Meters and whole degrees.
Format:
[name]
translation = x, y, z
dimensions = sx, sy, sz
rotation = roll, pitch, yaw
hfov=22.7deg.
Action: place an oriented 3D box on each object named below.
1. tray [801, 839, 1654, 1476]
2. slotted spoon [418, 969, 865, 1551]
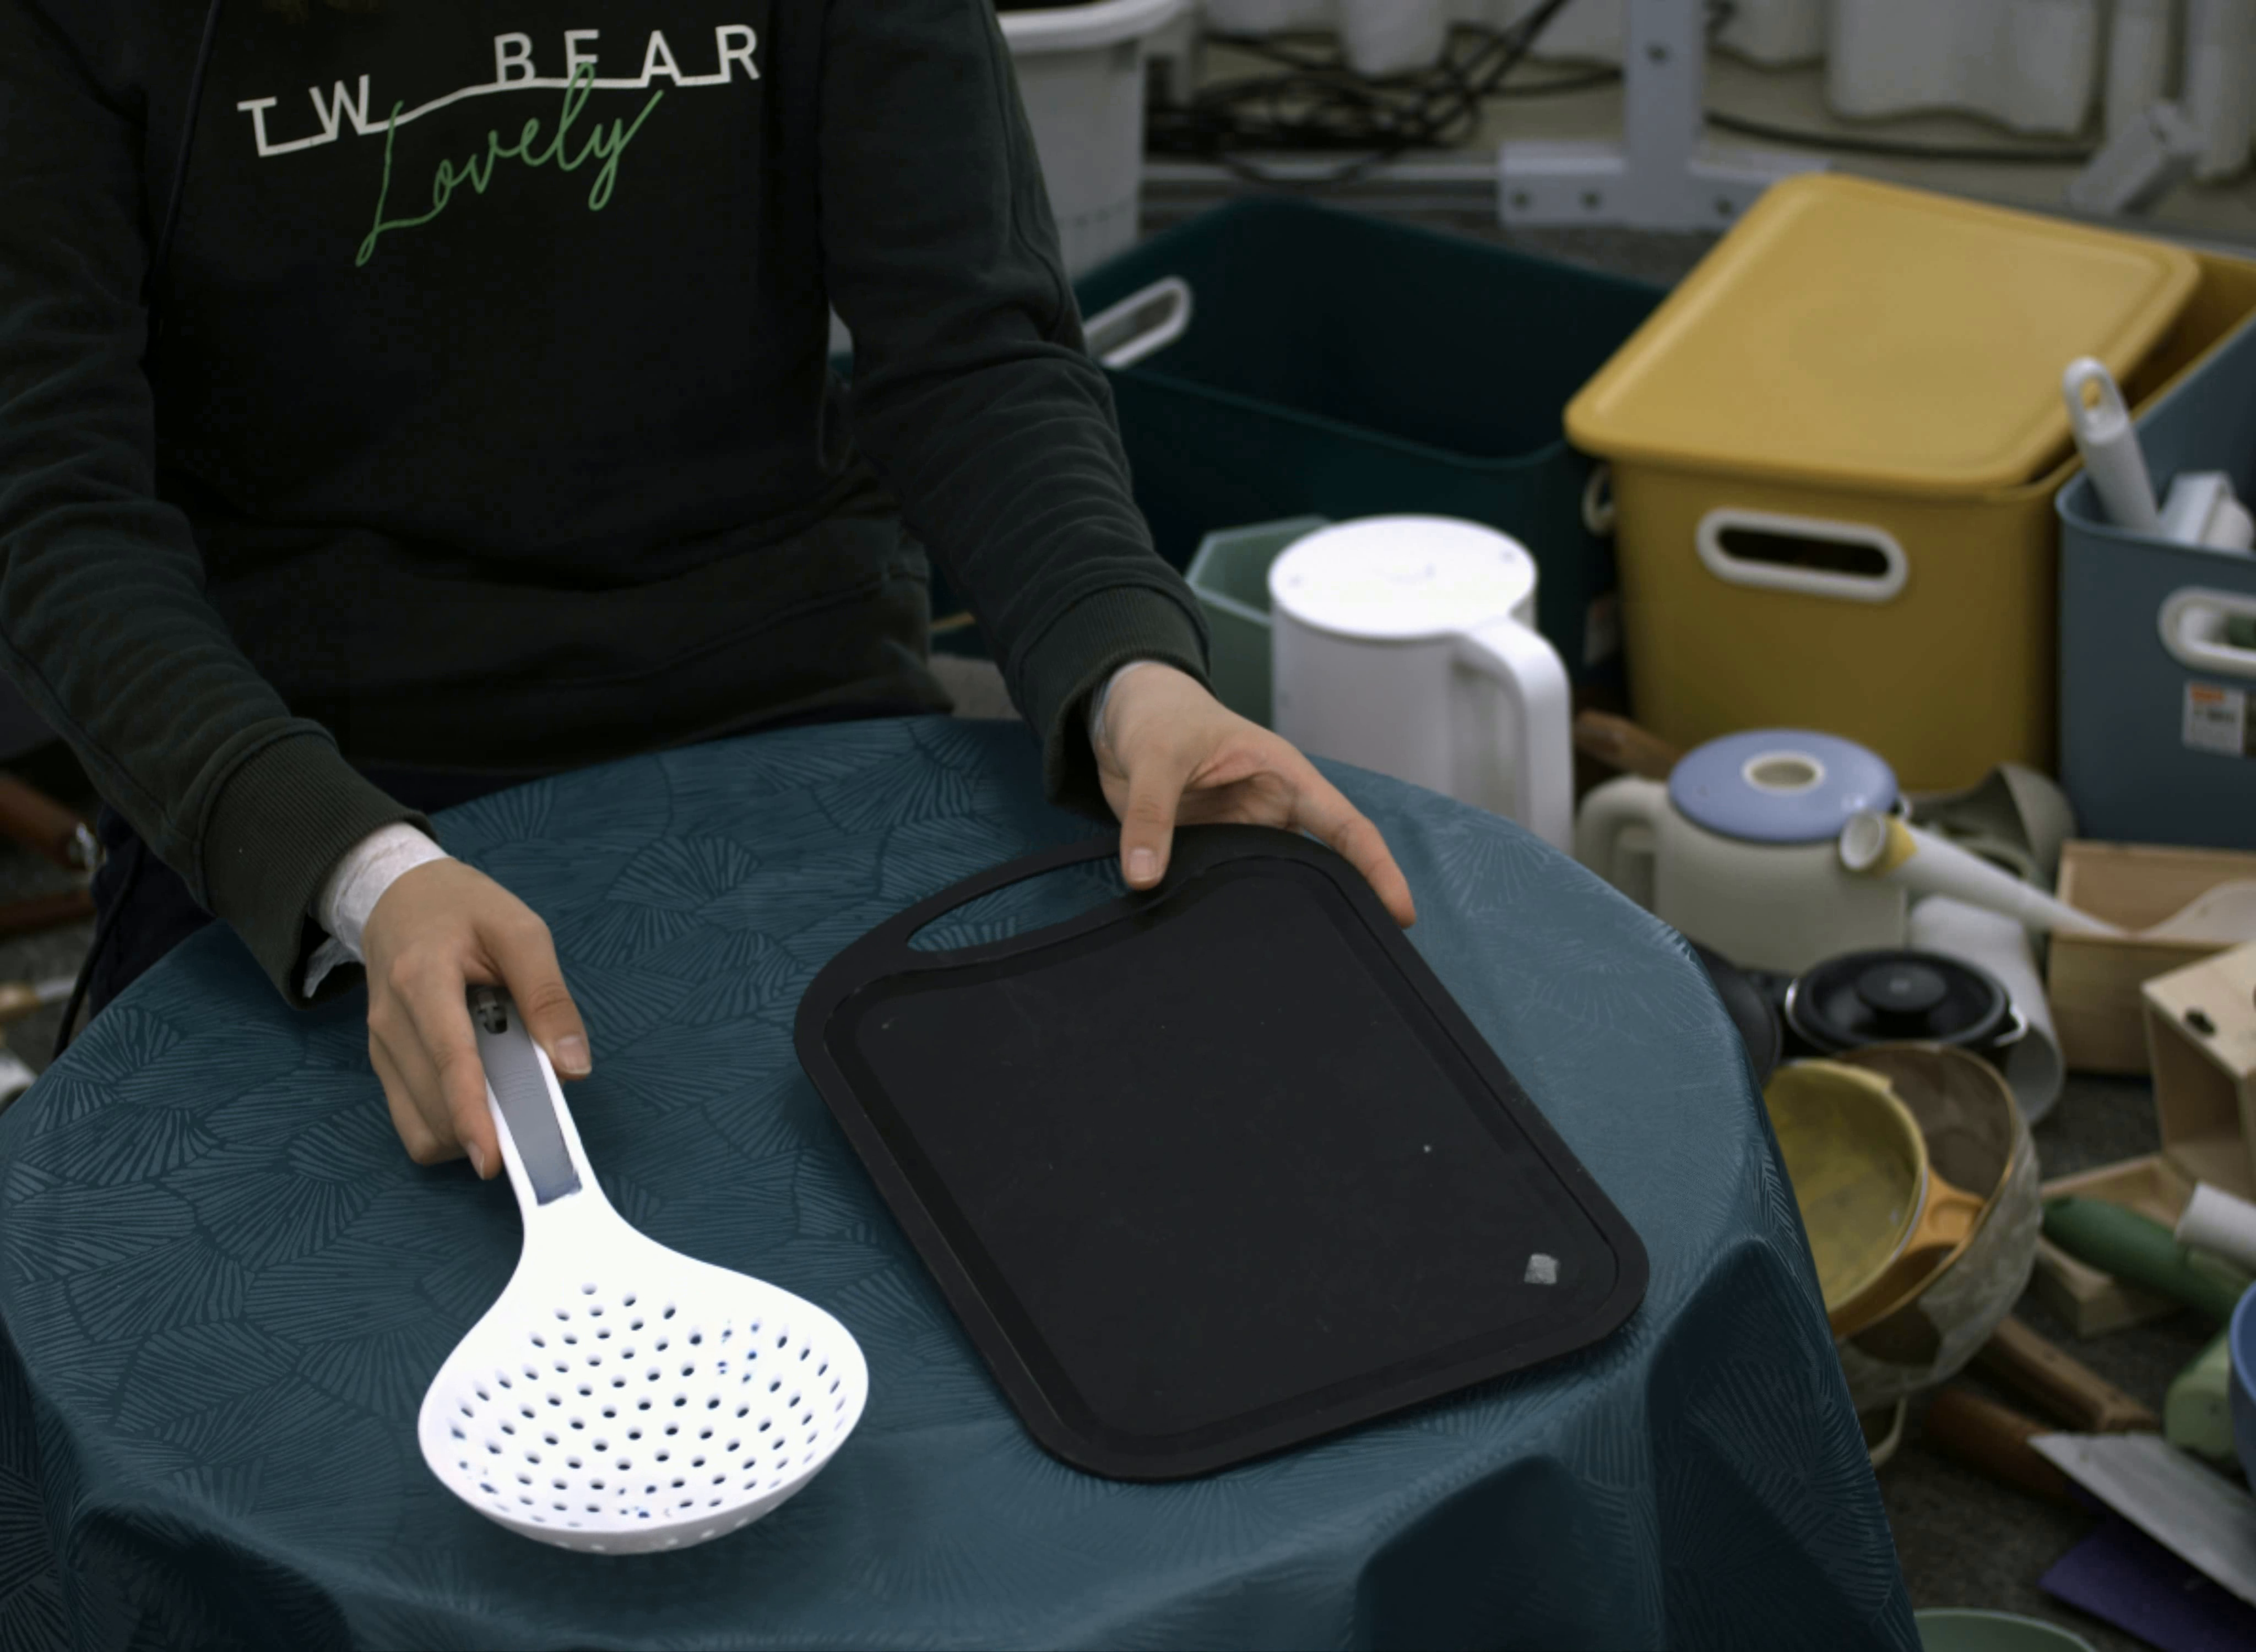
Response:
[tray]
translation = 0.023, 0.098, 1.853
dimensions = 0.211, 0.009, 0.329
rotation = -16, 35, -16
[slotted spoon]
translation = -0.176, 0.132, 1.788
dimensions = 0.136, 0.045, 0.354
rotation = -10, 32, -13
